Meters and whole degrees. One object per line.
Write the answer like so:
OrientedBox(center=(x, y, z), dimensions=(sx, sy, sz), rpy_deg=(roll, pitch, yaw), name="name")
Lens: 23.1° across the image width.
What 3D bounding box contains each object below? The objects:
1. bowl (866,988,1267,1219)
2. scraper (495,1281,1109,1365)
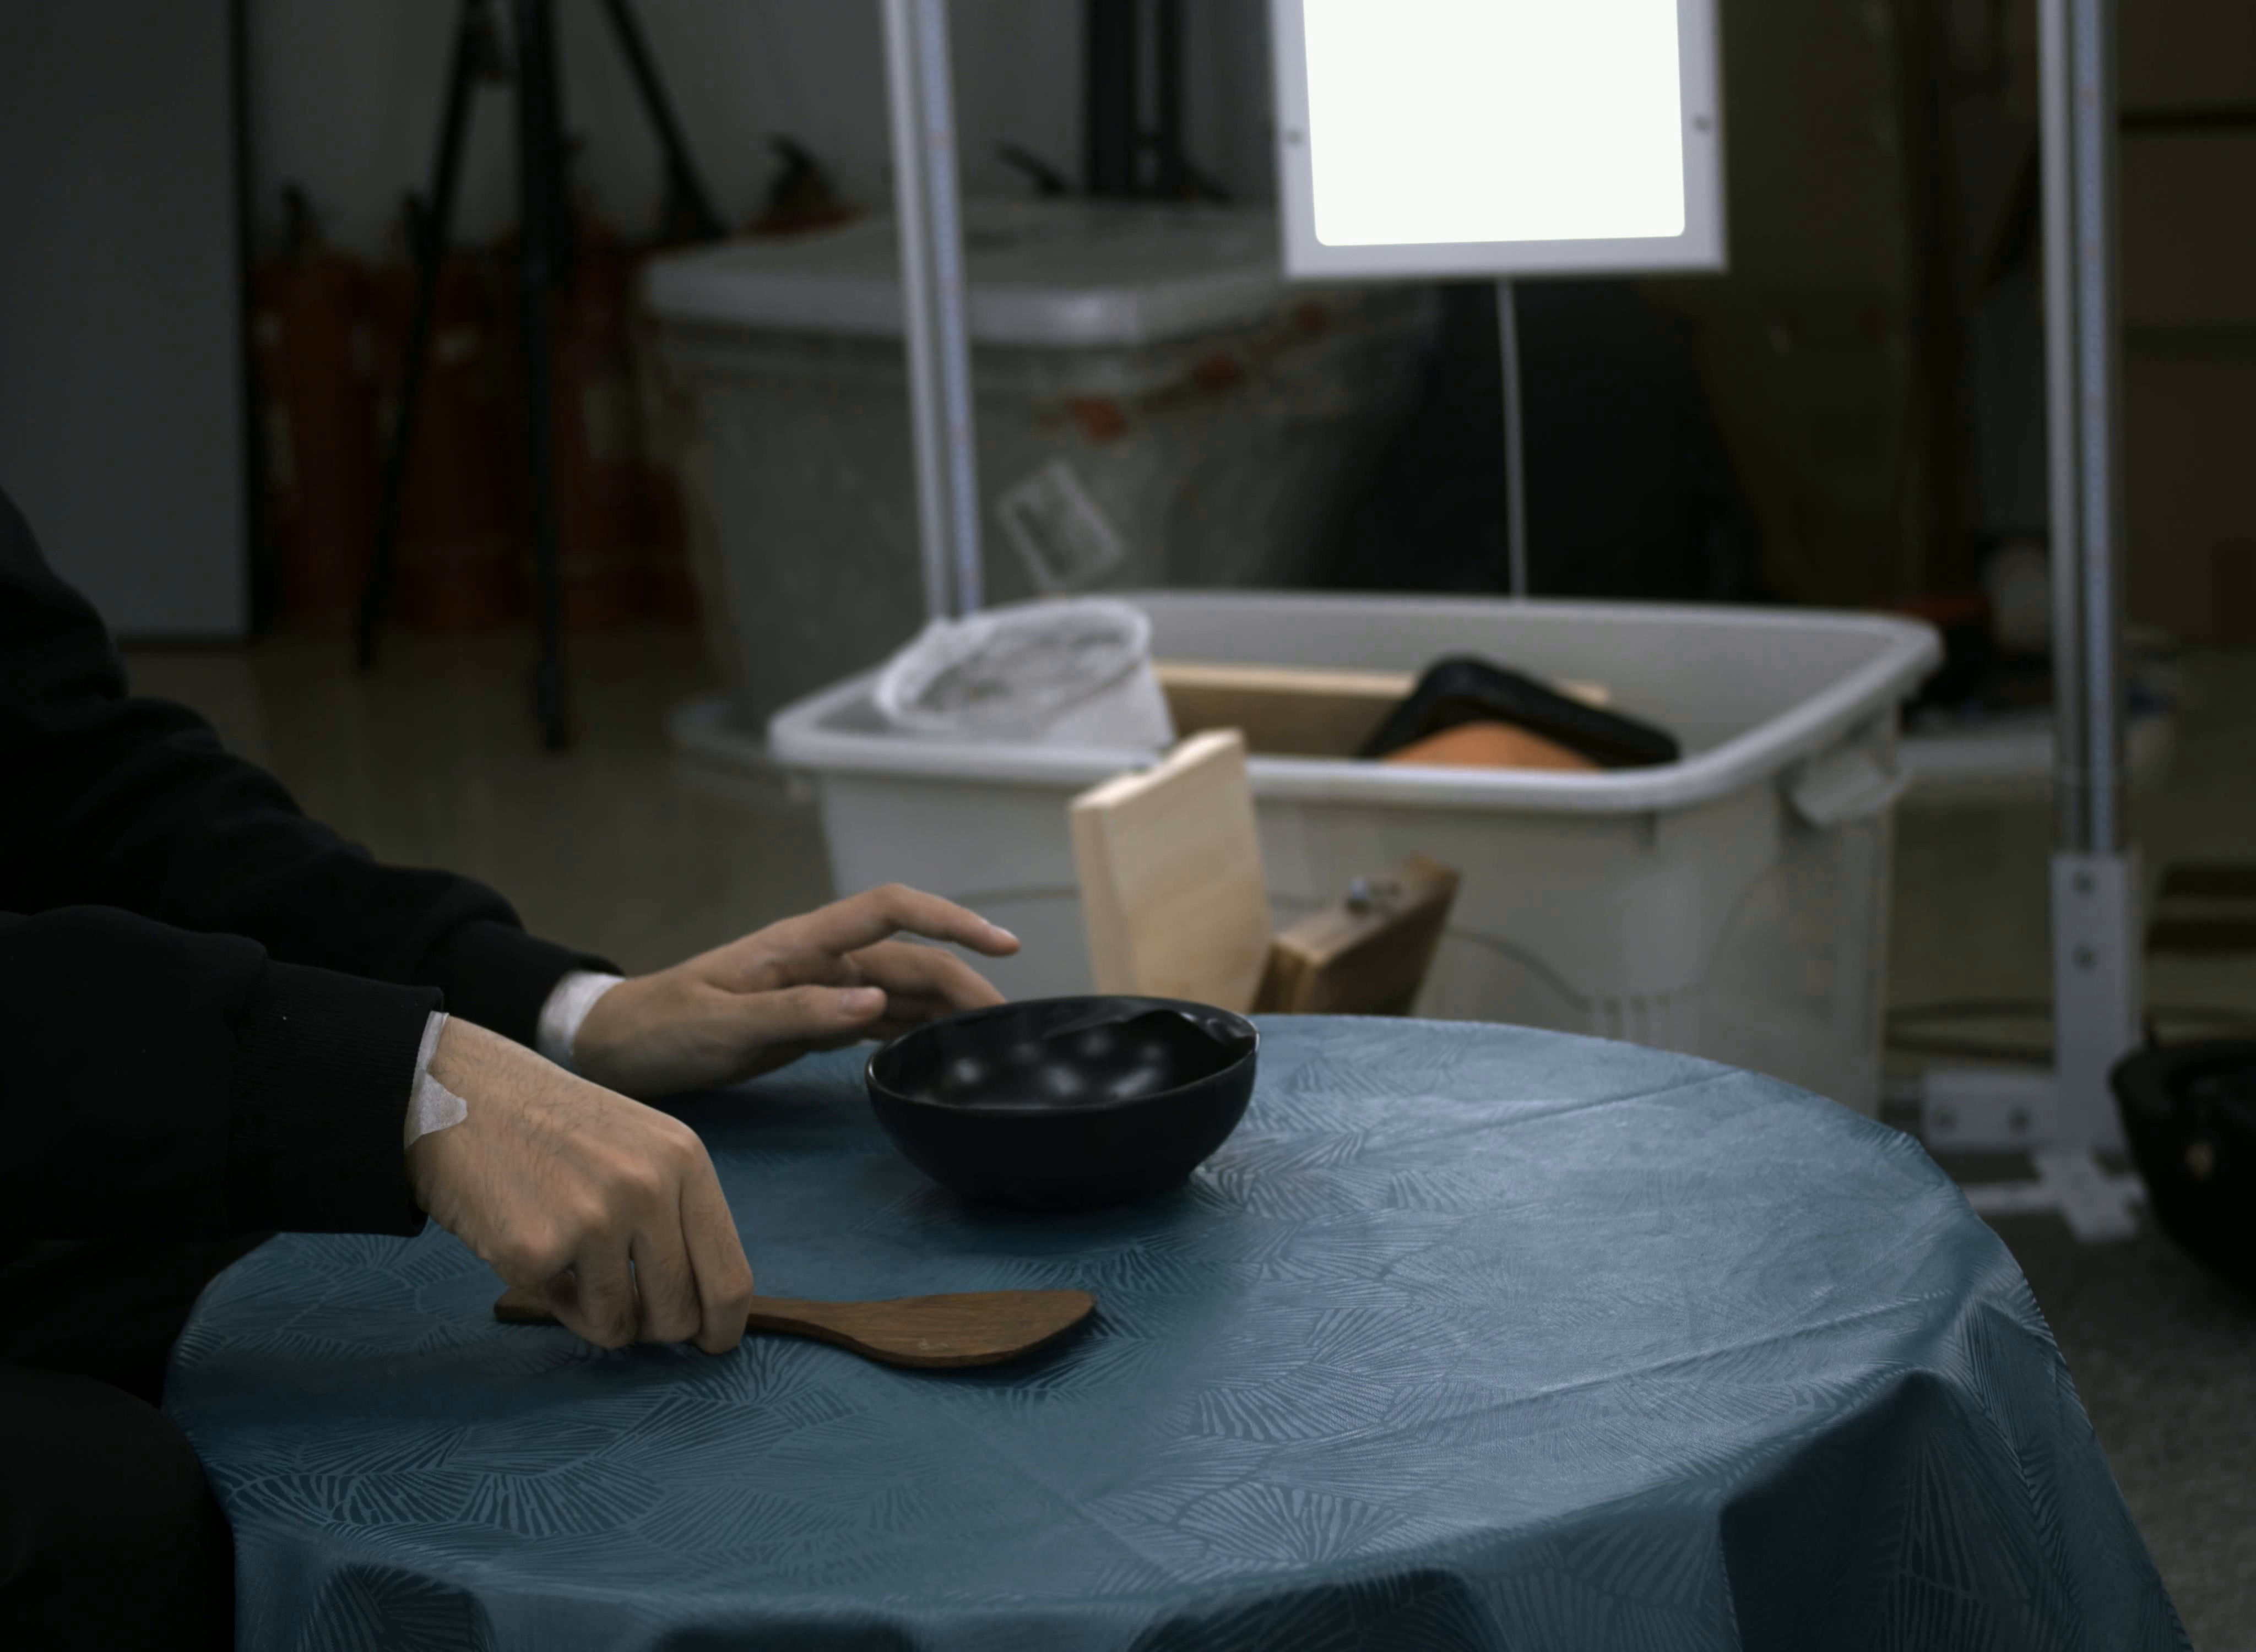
OrientedBox(center=(-0.019, 0.101, 1.909), dimensions=(0.140, 0.050, 0.140), rpy_deg=(-6, 16, 0), name="bowl")
OrientedBox(center=(-0.110, 0.158, 1.789), dimensions=(0.215, 0.011, 0.074), rpy_deg=(1, 12, 26), name="scraper")
